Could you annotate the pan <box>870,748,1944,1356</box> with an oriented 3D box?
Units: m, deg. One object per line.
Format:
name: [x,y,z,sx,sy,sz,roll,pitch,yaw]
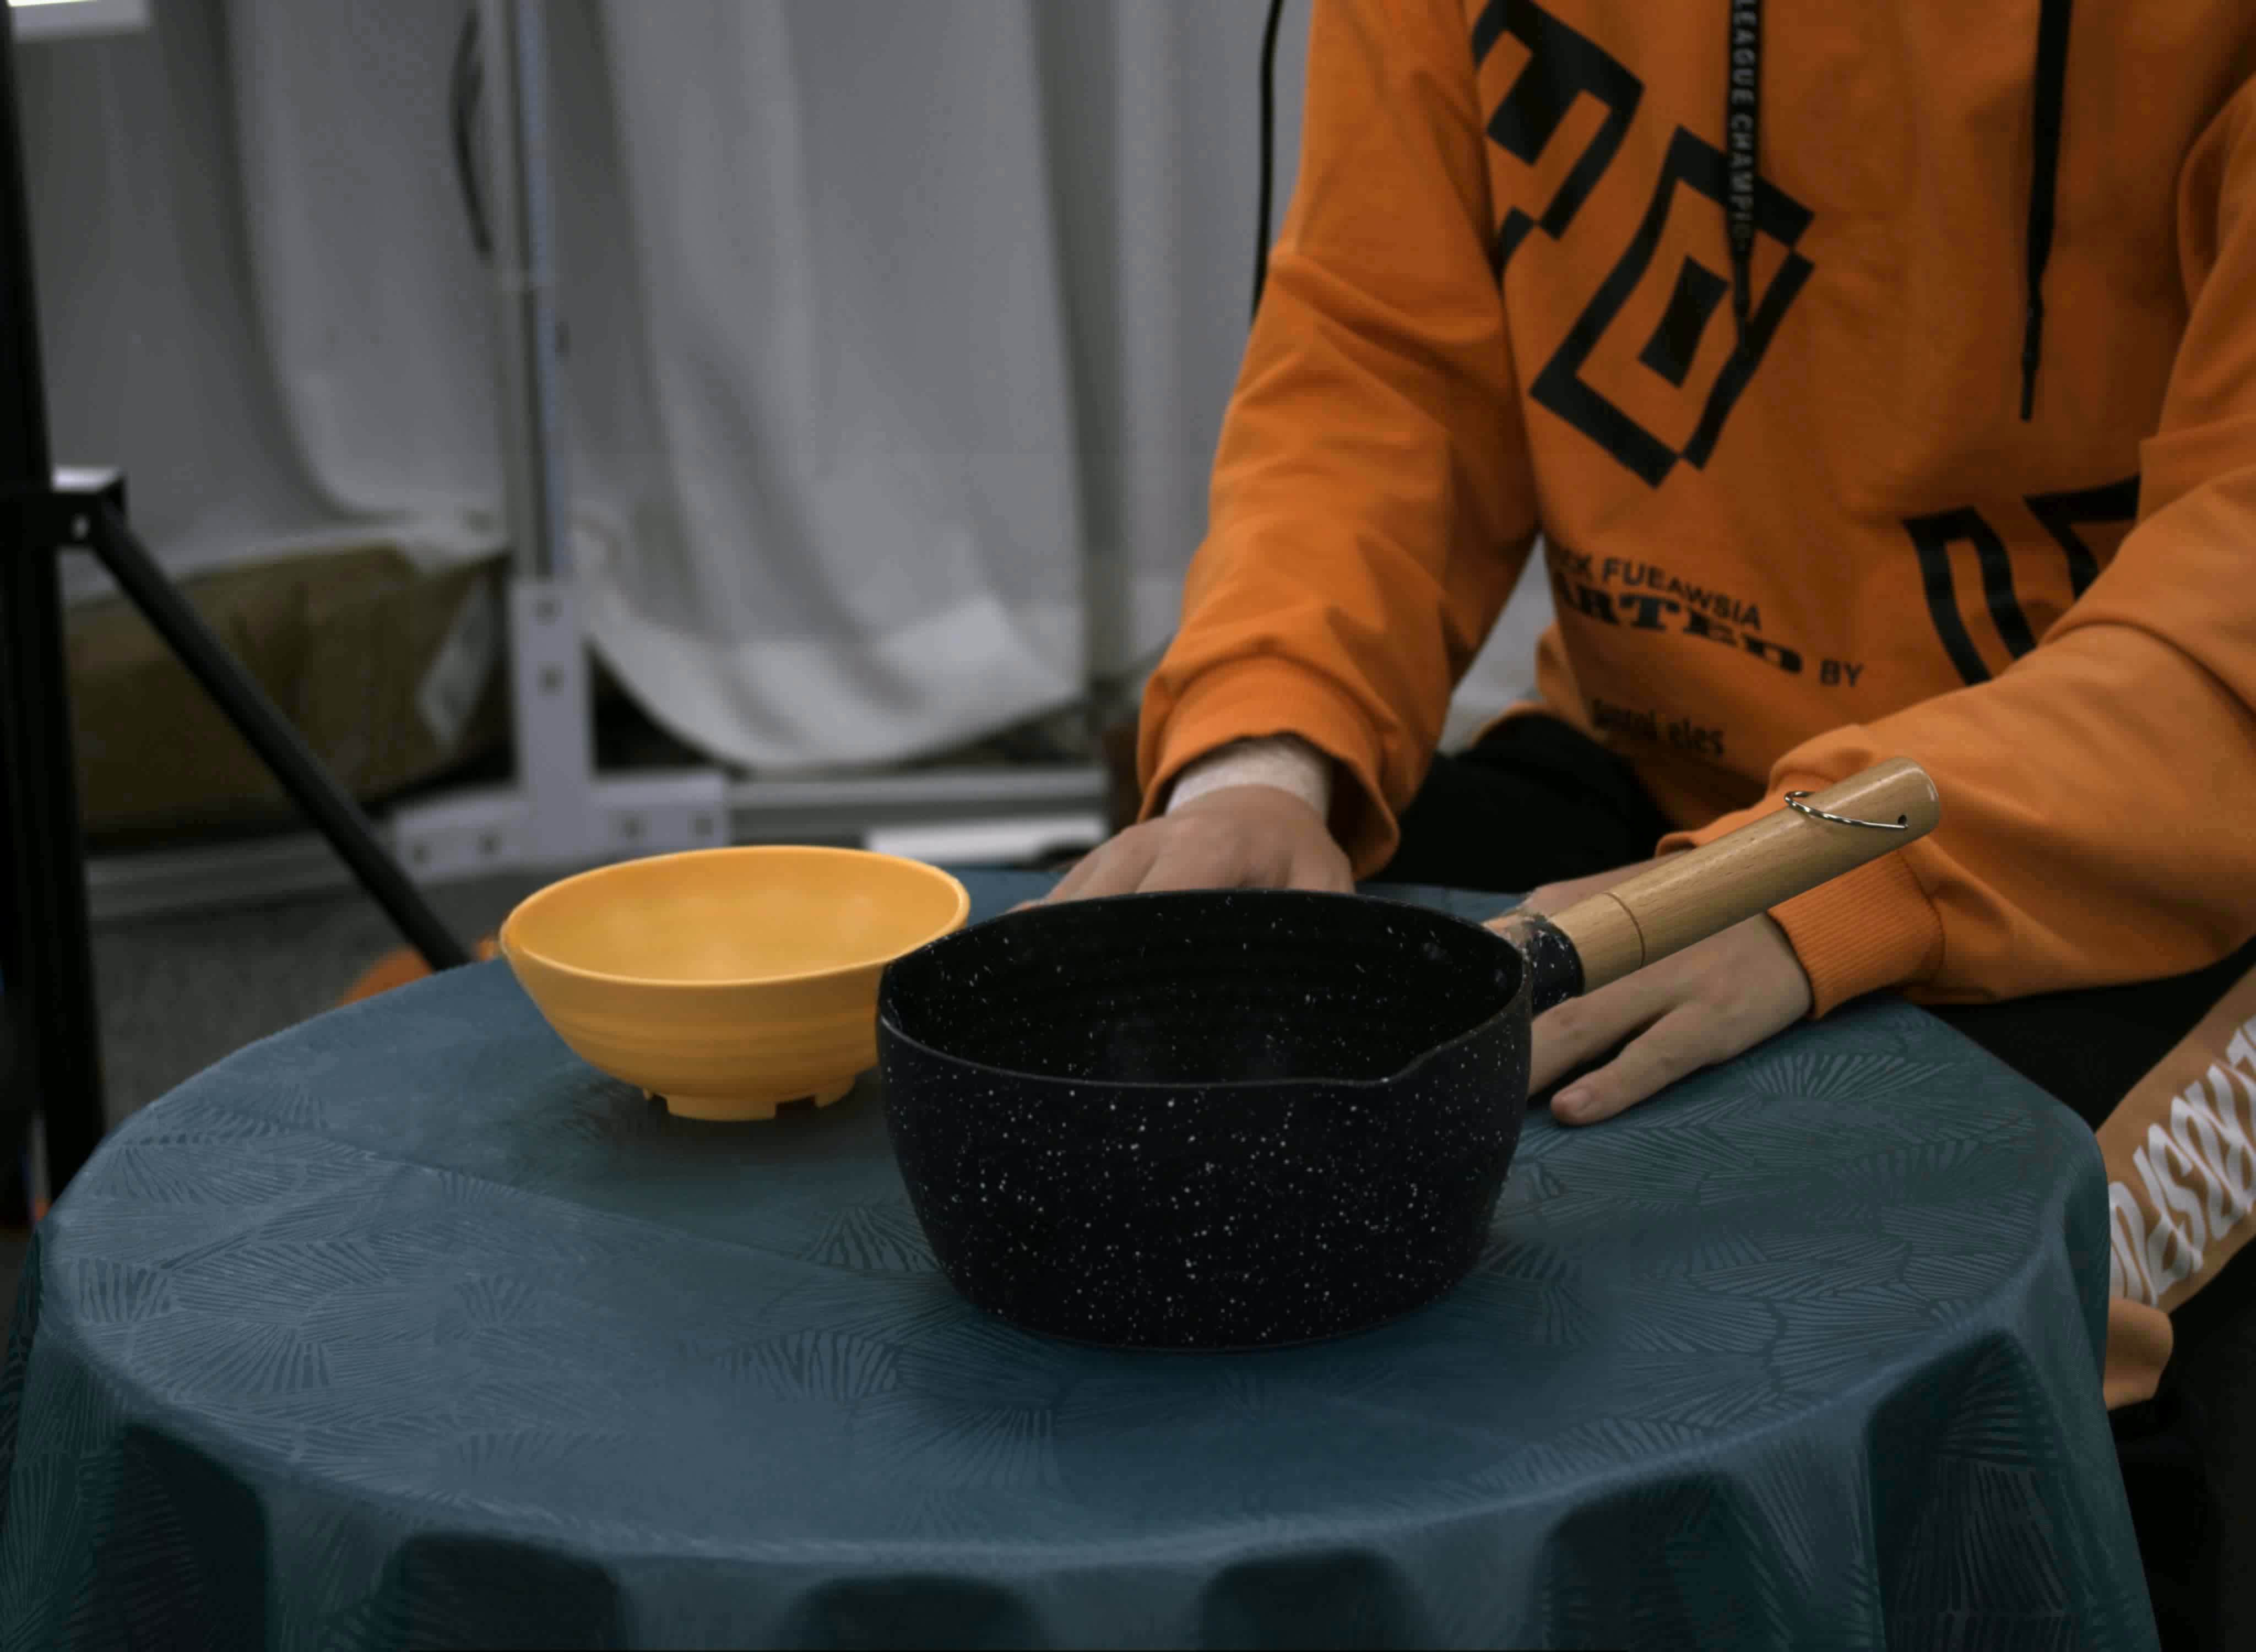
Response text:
pan: [0.091,0.059,1.518,0.336,0.108,0.212,-12,17,-26]

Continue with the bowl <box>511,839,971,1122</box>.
bowl: [-0.120,0.053,1.664,0.144,0.060,0.146,-2,17,-1]
